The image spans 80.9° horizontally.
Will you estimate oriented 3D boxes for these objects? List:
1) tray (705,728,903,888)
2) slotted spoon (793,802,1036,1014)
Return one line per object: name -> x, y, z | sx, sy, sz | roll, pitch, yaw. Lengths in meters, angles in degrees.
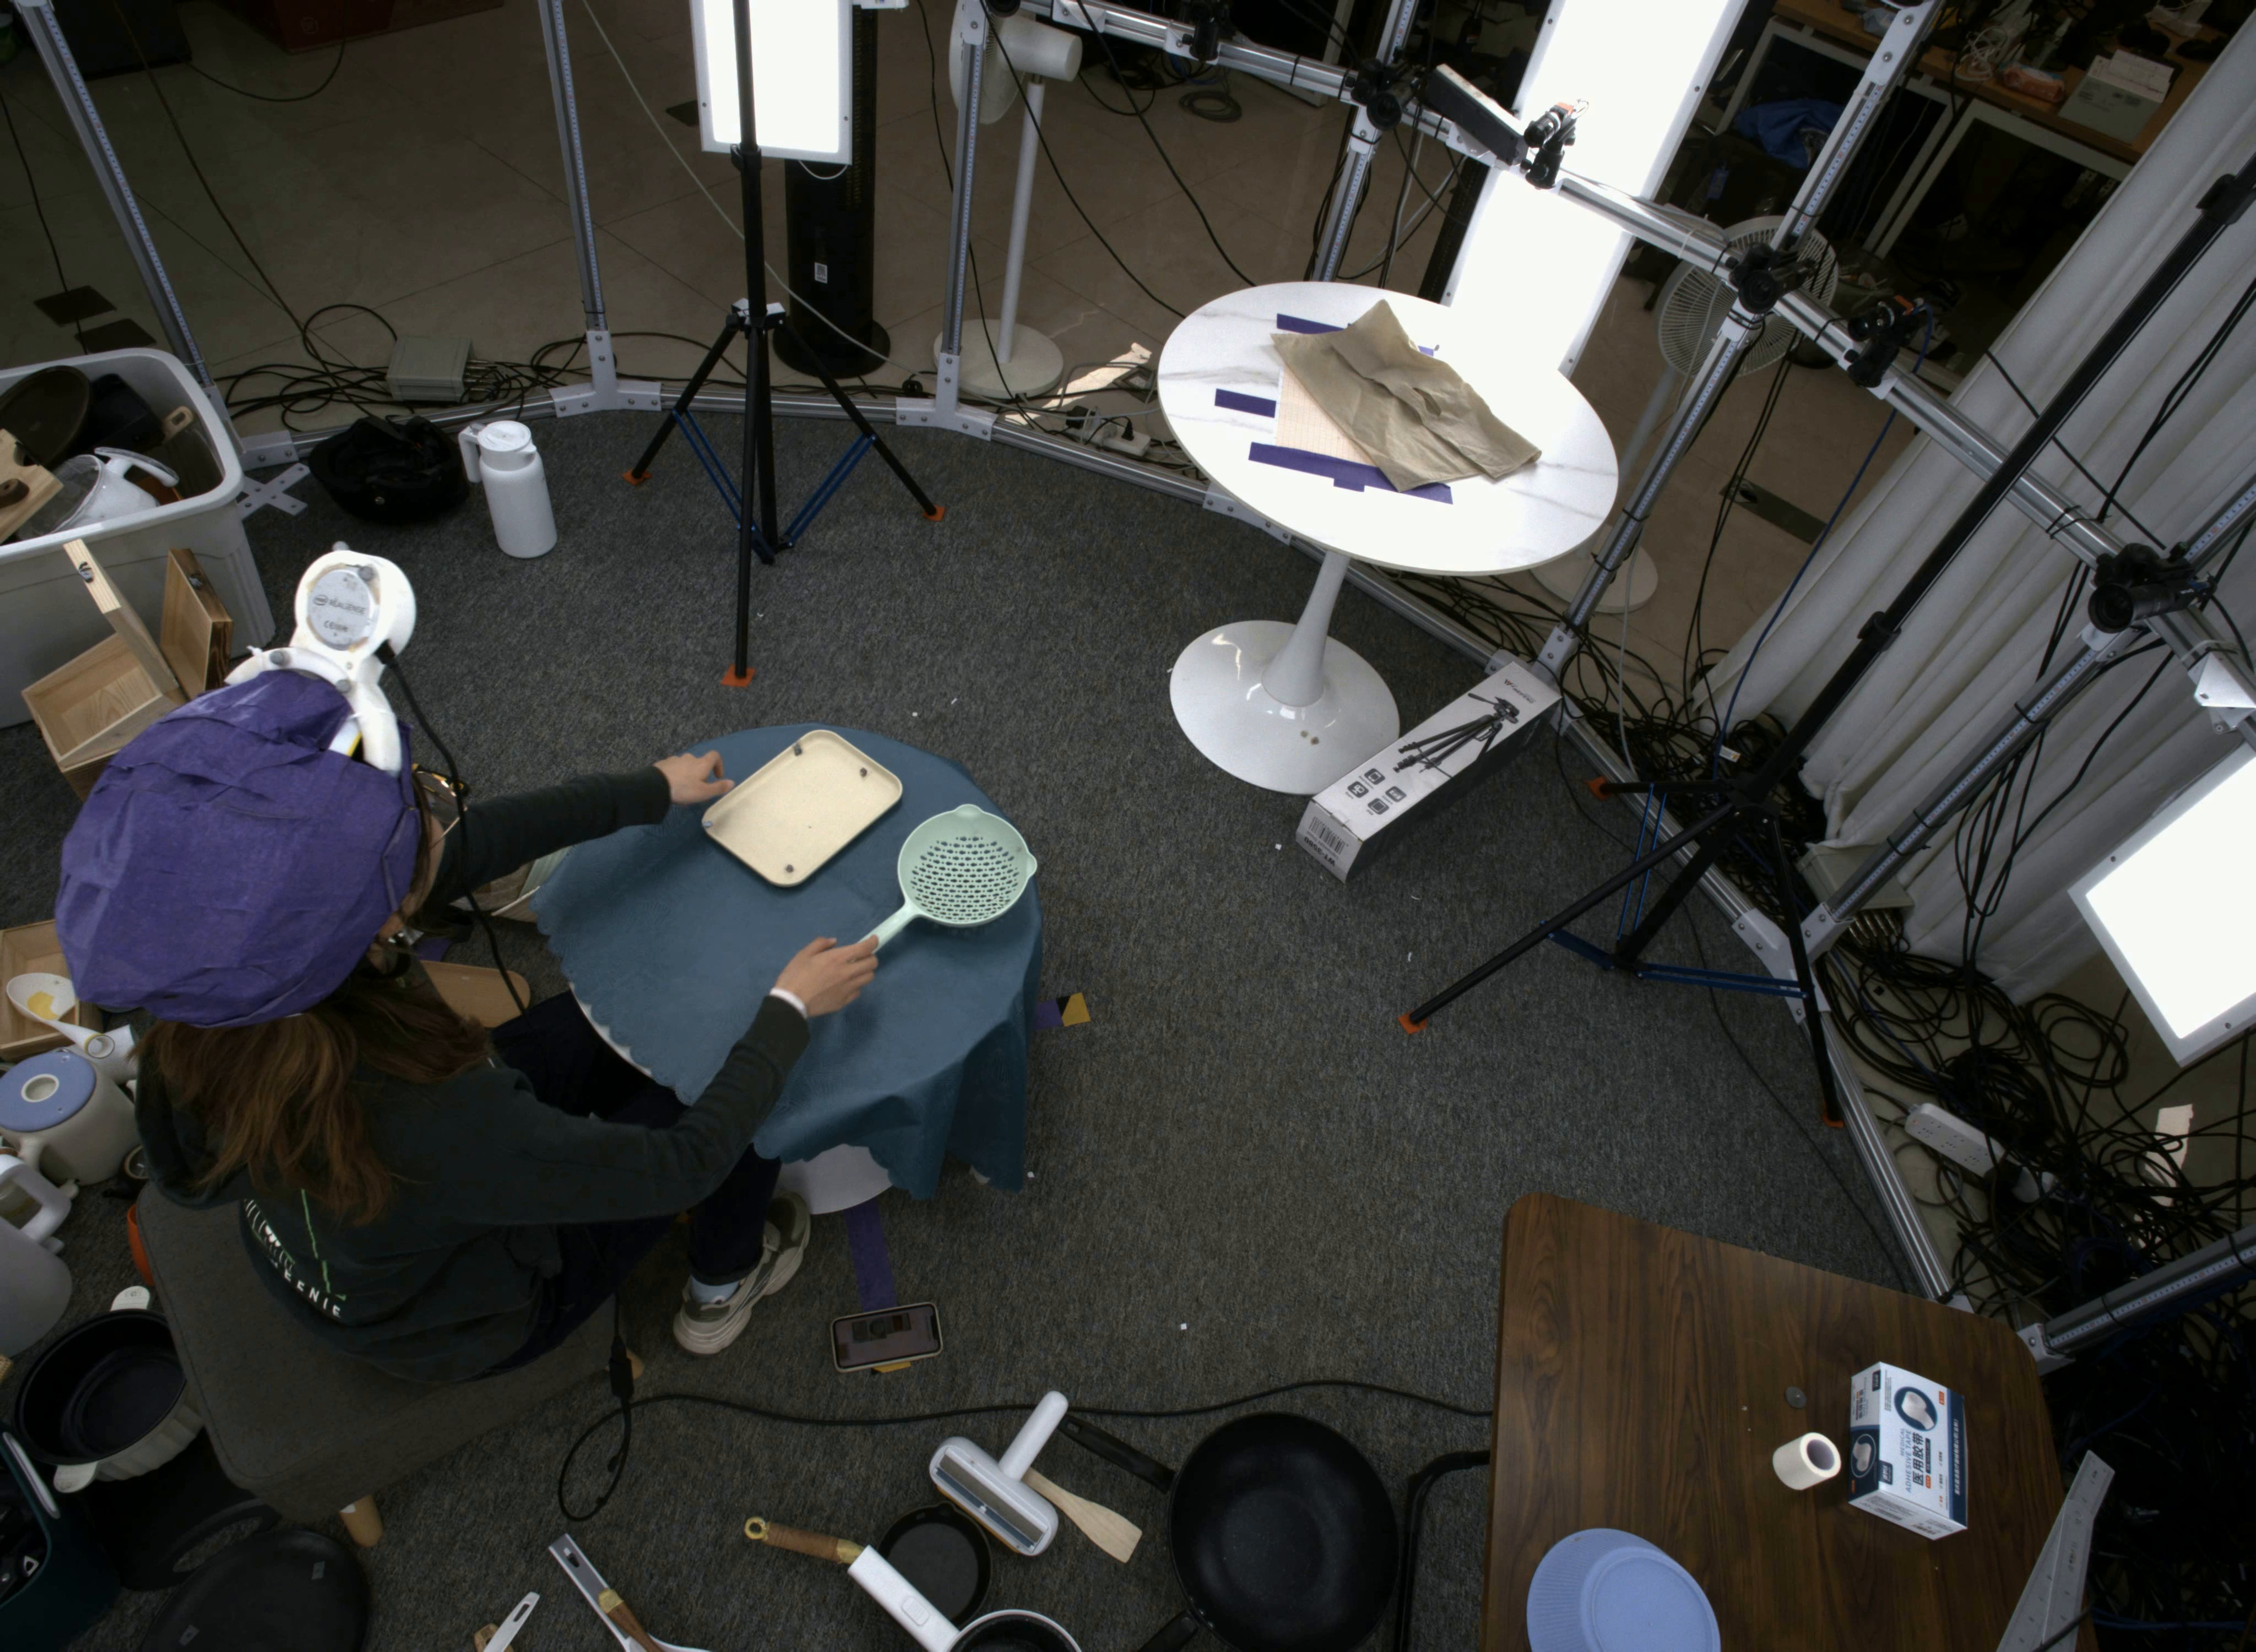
tray -> -0.431, -0.027, 1.737 | 0.168, 0.018, 0.239 | 35, 54, 12
slotted spoon -> -0.279, 0.111, 1.643 | 0.165, 0.077, 0.359 | 41, 55, 18
